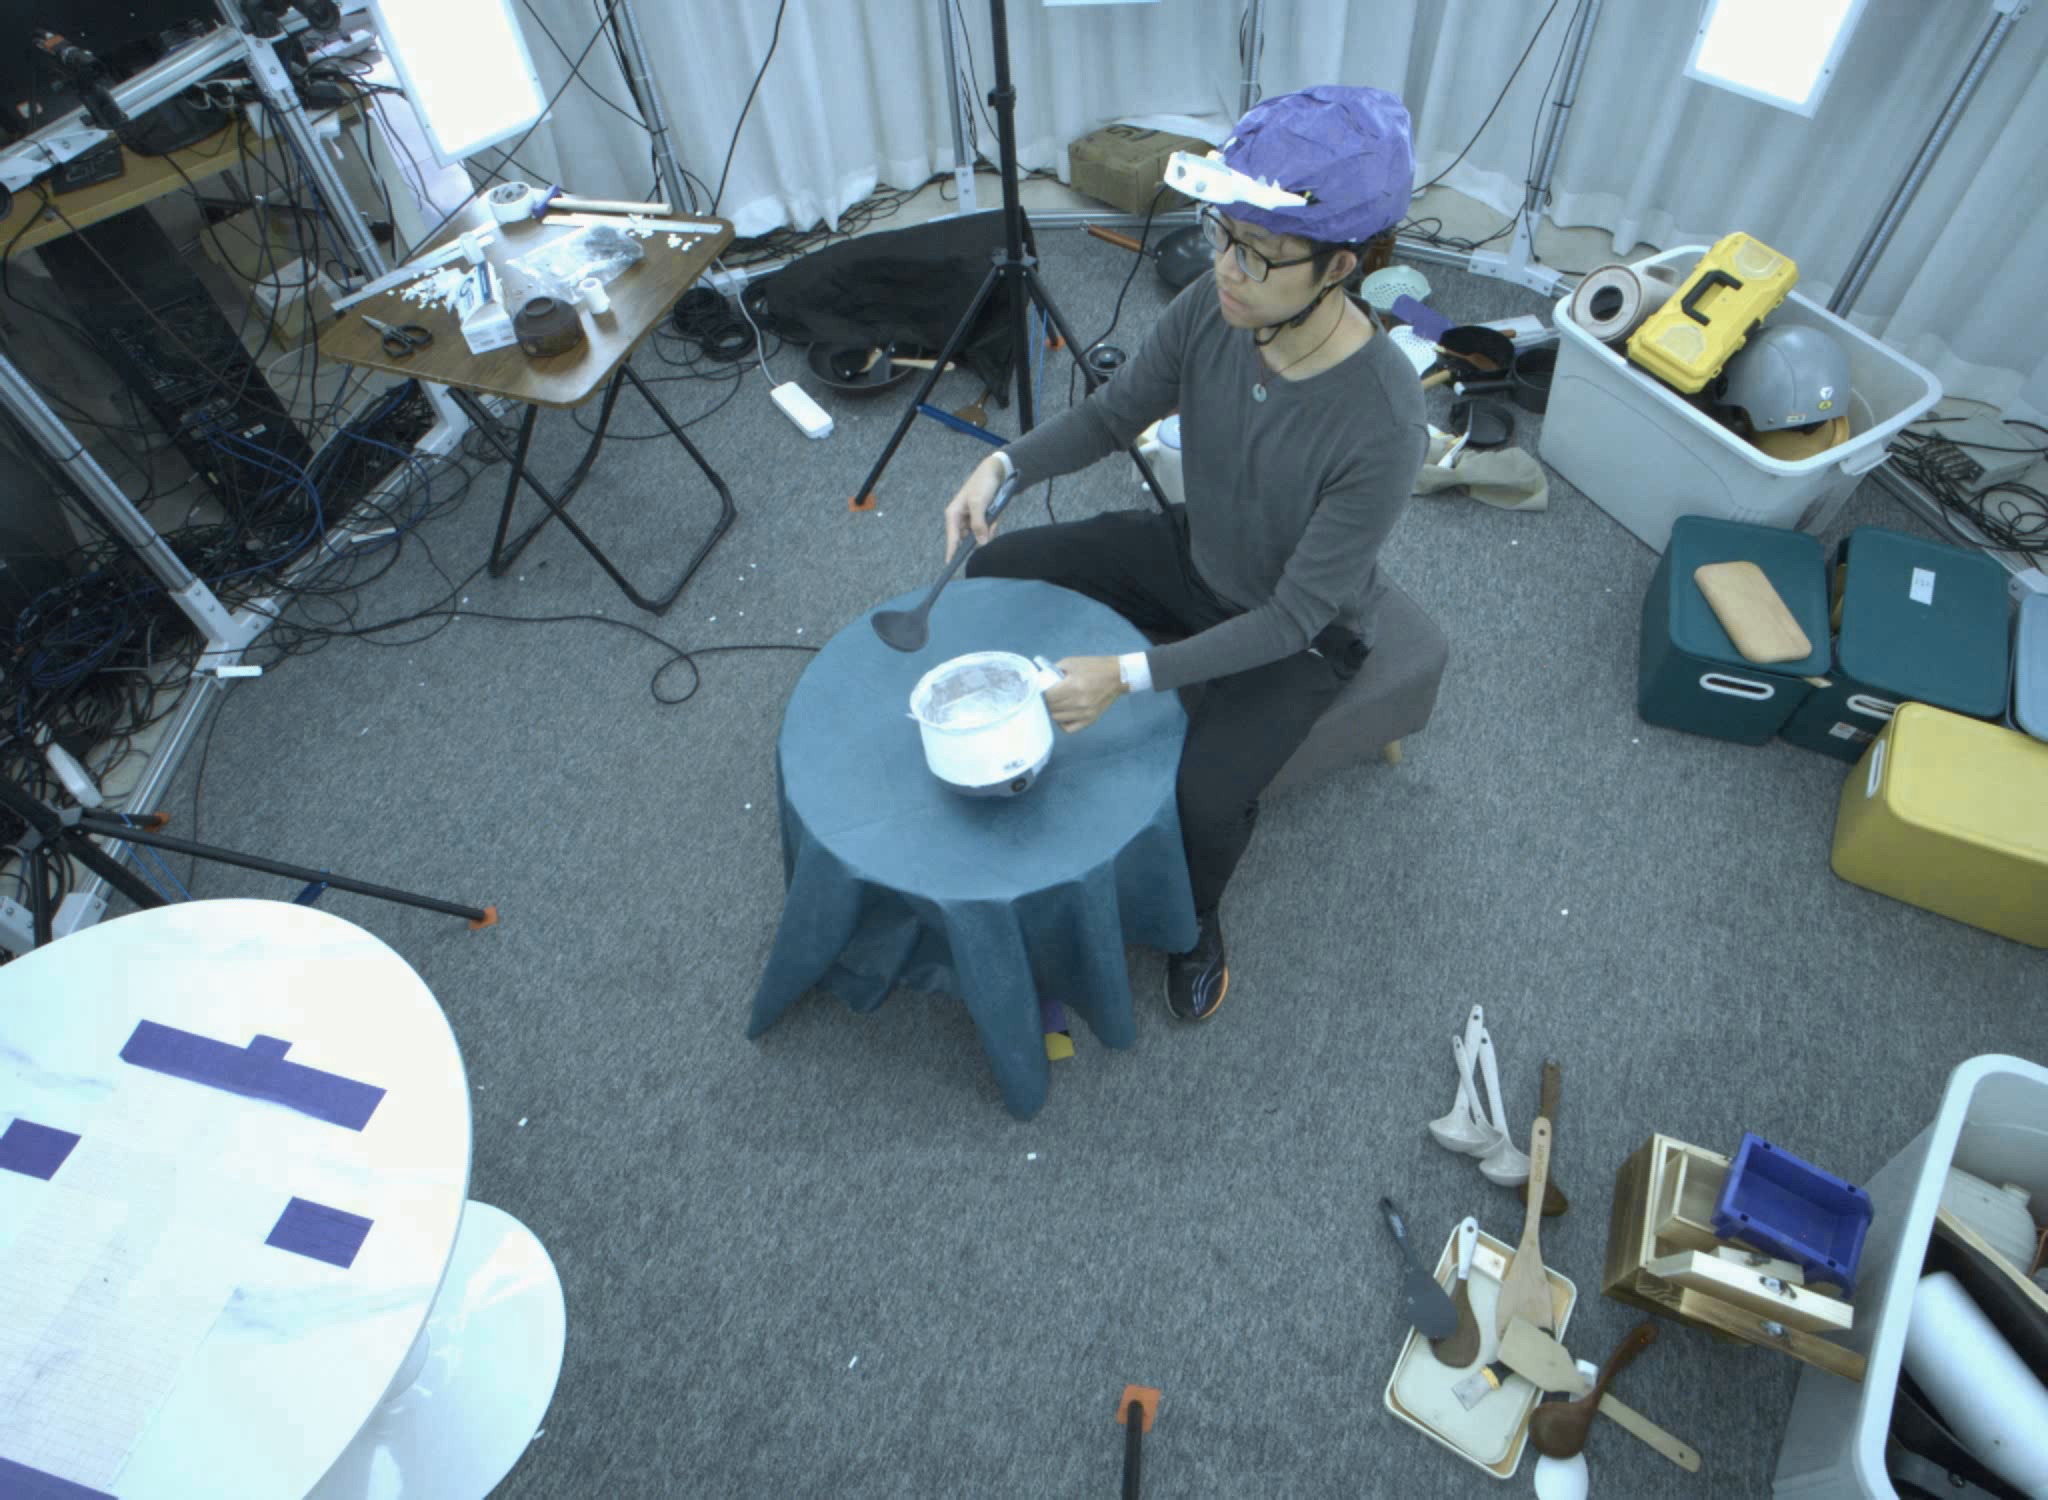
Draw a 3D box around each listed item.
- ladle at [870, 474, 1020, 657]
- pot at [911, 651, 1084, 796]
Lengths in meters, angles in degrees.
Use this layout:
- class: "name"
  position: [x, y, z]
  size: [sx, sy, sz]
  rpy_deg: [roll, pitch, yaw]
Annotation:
- class: "ladle"
  position: [-0.102, -0.267, 1.722]
  size: [0.085, 0.064, 0.314]
  rpy_deg: [35, 89, 8]
- class: "pot"
  position: [-0.030, -0.045, 1.702]
  size: [0.236, 0.138, 0.174]
  rpy_deg: [-26, 40, -17]
